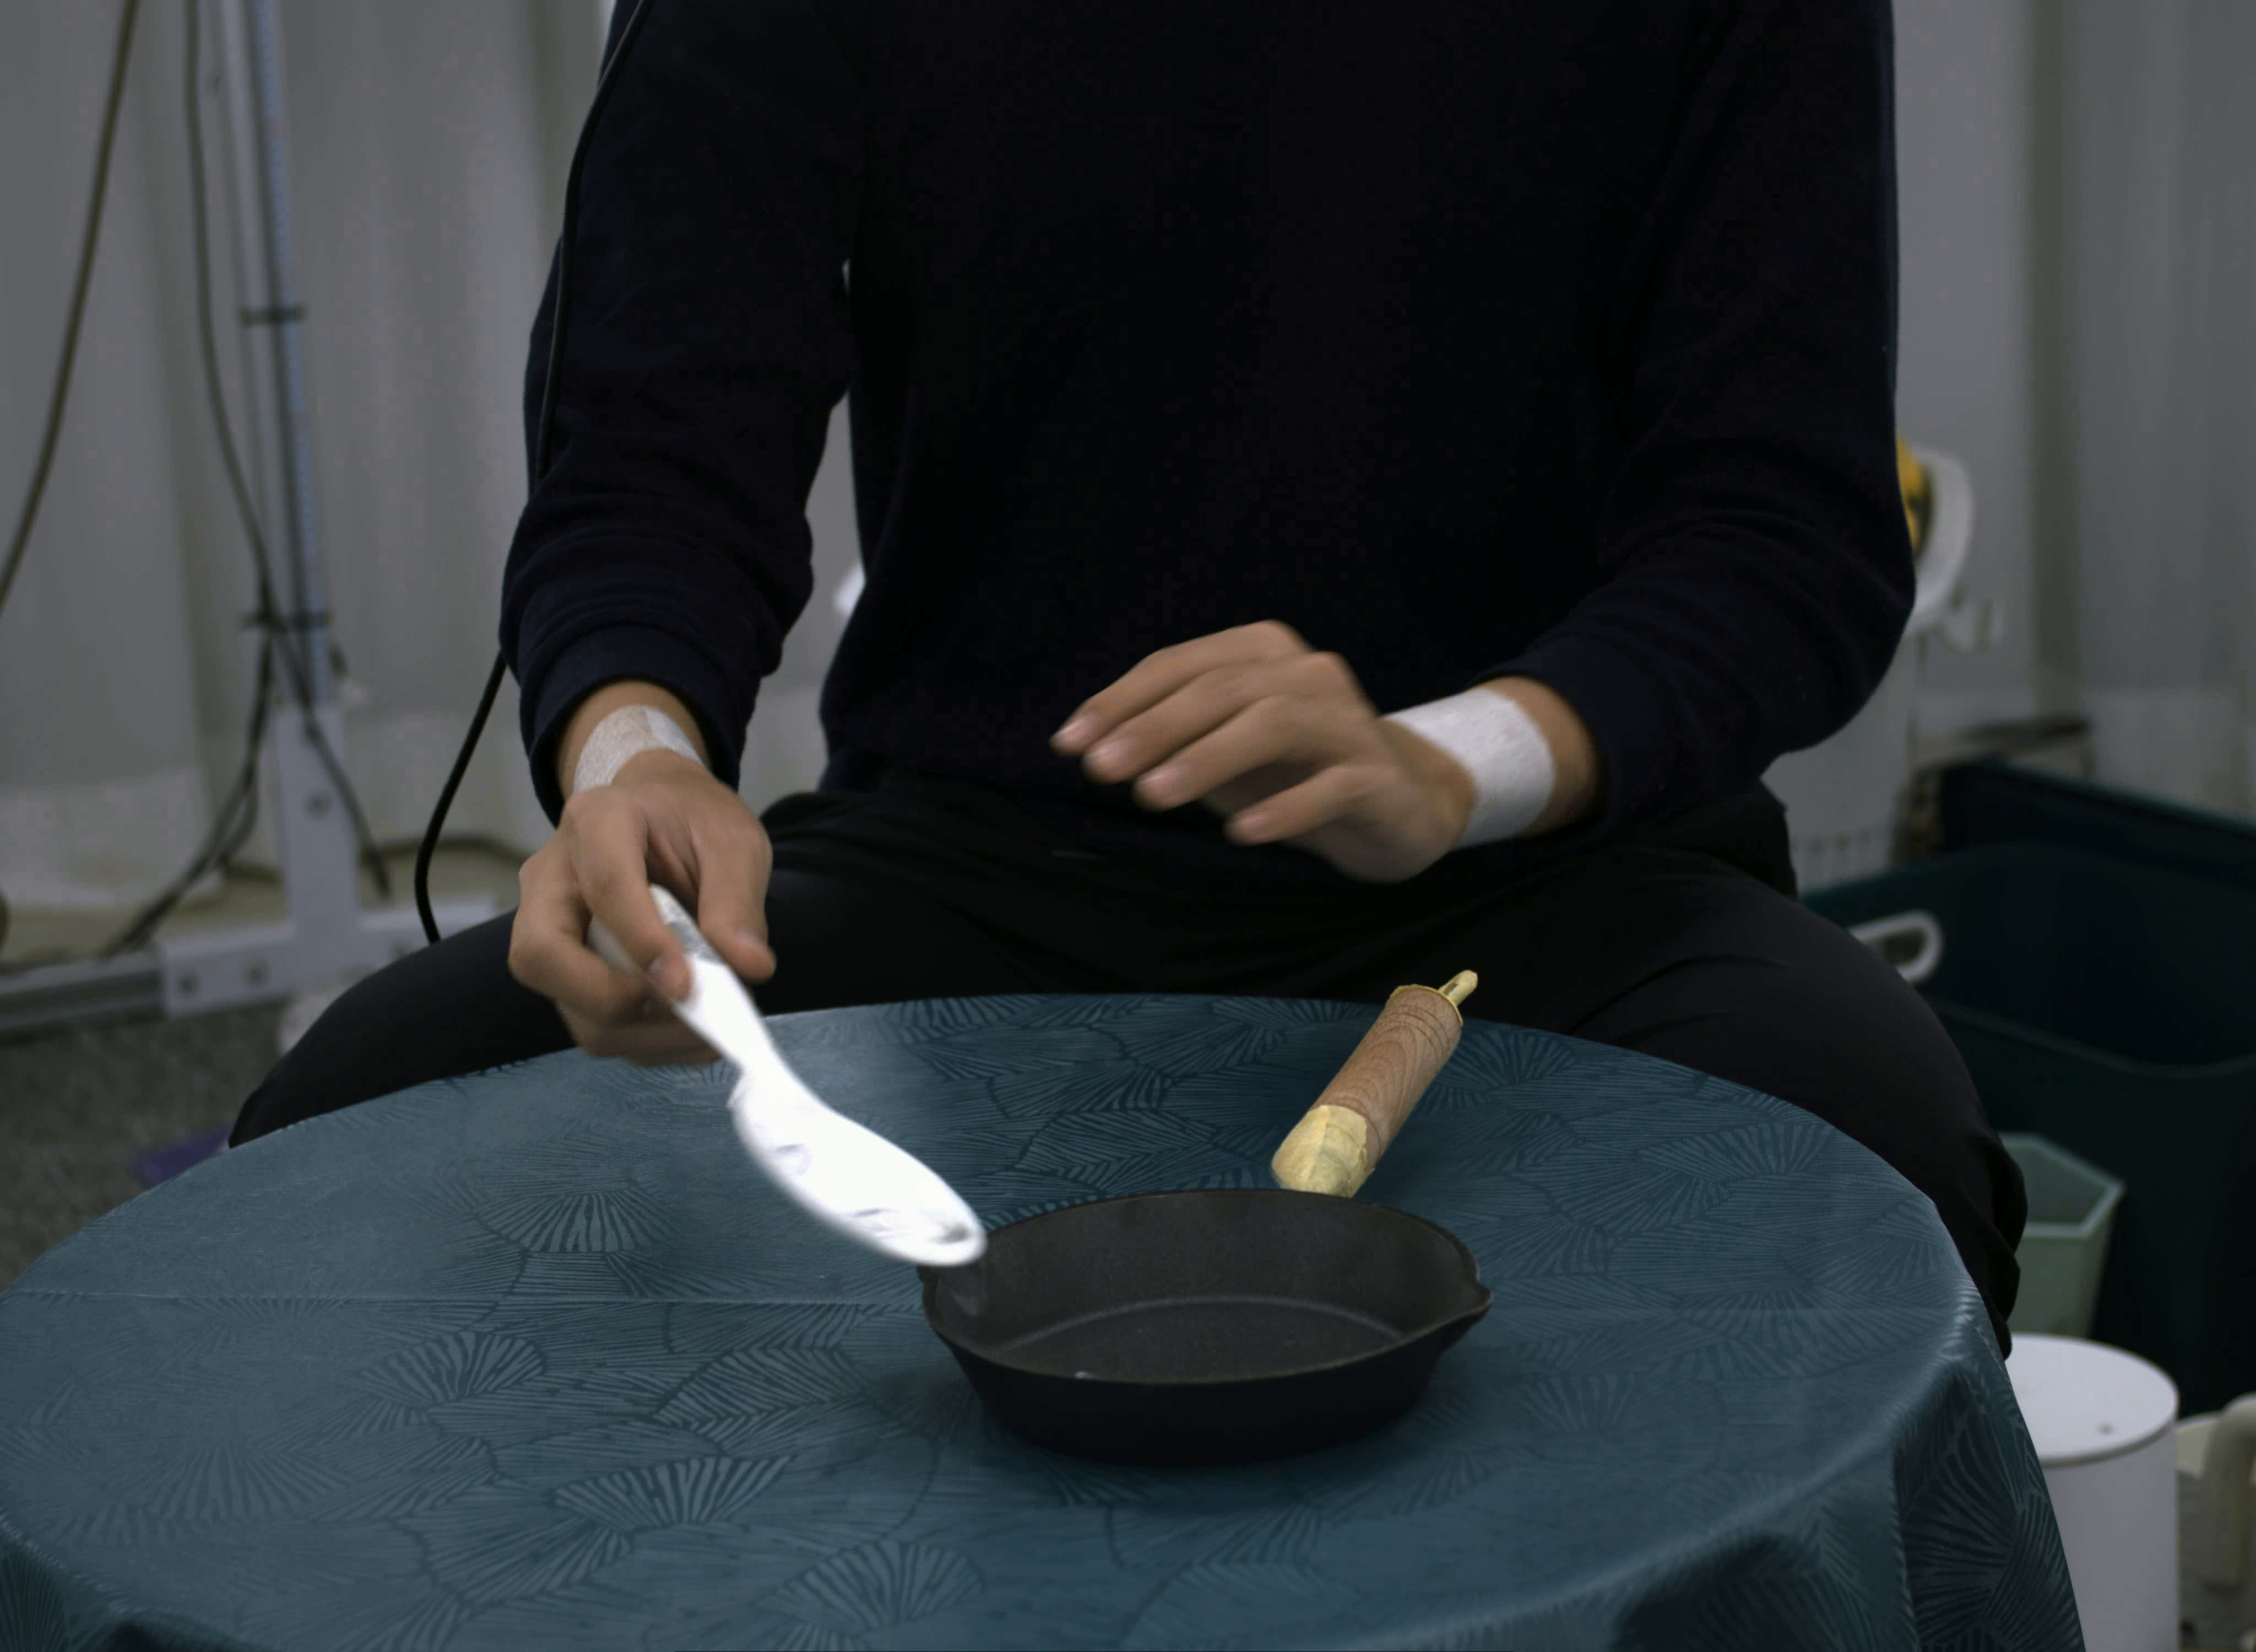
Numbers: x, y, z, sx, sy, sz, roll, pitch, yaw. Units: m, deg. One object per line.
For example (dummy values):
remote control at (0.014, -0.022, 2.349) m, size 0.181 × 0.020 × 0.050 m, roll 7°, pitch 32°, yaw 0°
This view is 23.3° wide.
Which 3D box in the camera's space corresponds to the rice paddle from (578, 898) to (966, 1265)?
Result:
rice paddle at (-0.107, 0.076, 1.591) m, size 0.068 × 0.029 × 0.208 m, roll 7°, pitch 20°, yaw -32°

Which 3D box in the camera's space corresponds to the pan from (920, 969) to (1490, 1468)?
pan at (0.051, 0.113, 1.616) m, size 0.169 × 0.049 × 0.325 m, roll 3°, pitch 18°, yaw 21°
